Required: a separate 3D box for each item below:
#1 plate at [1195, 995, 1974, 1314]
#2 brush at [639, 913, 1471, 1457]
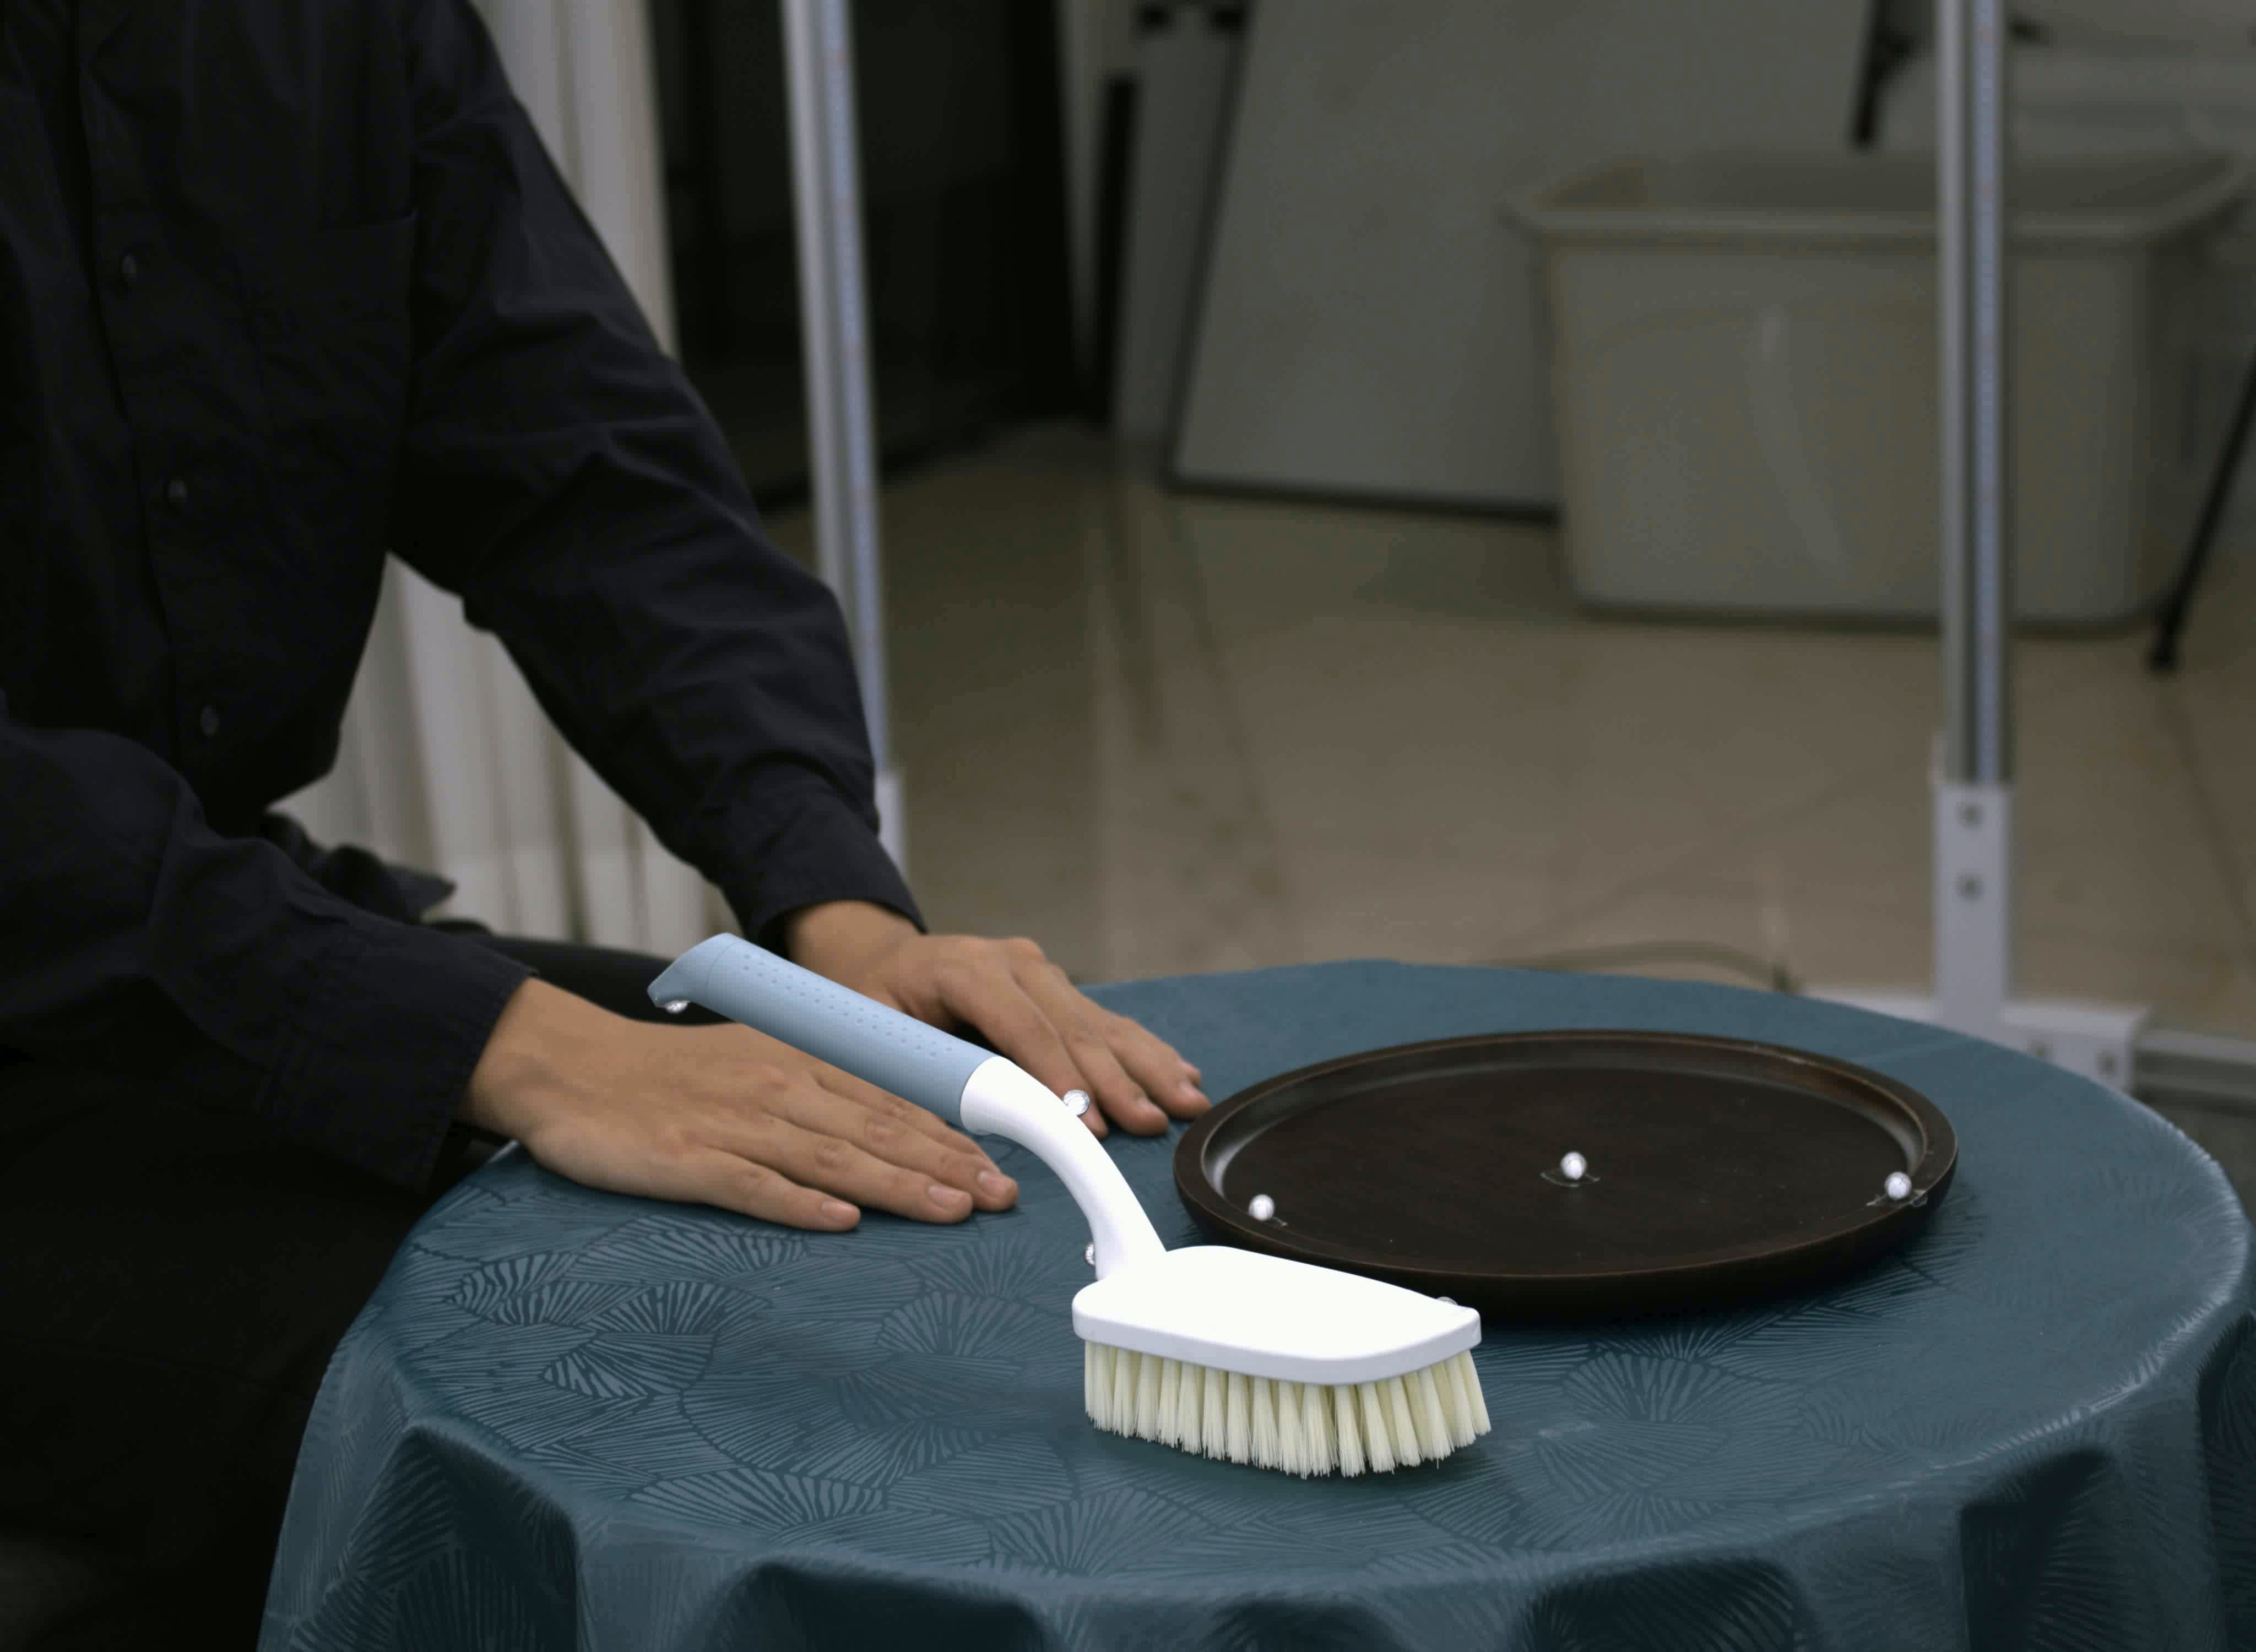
[{"bbox_3d":[0.146,0.106,1.736,0.251,0.029,0.255,-5,15,0],"label":"plate"},{"bbox_3d":[-0.028,0.120,1.609,0.328,0.085,0.082,23,-10,37],"label":"brush"}]
